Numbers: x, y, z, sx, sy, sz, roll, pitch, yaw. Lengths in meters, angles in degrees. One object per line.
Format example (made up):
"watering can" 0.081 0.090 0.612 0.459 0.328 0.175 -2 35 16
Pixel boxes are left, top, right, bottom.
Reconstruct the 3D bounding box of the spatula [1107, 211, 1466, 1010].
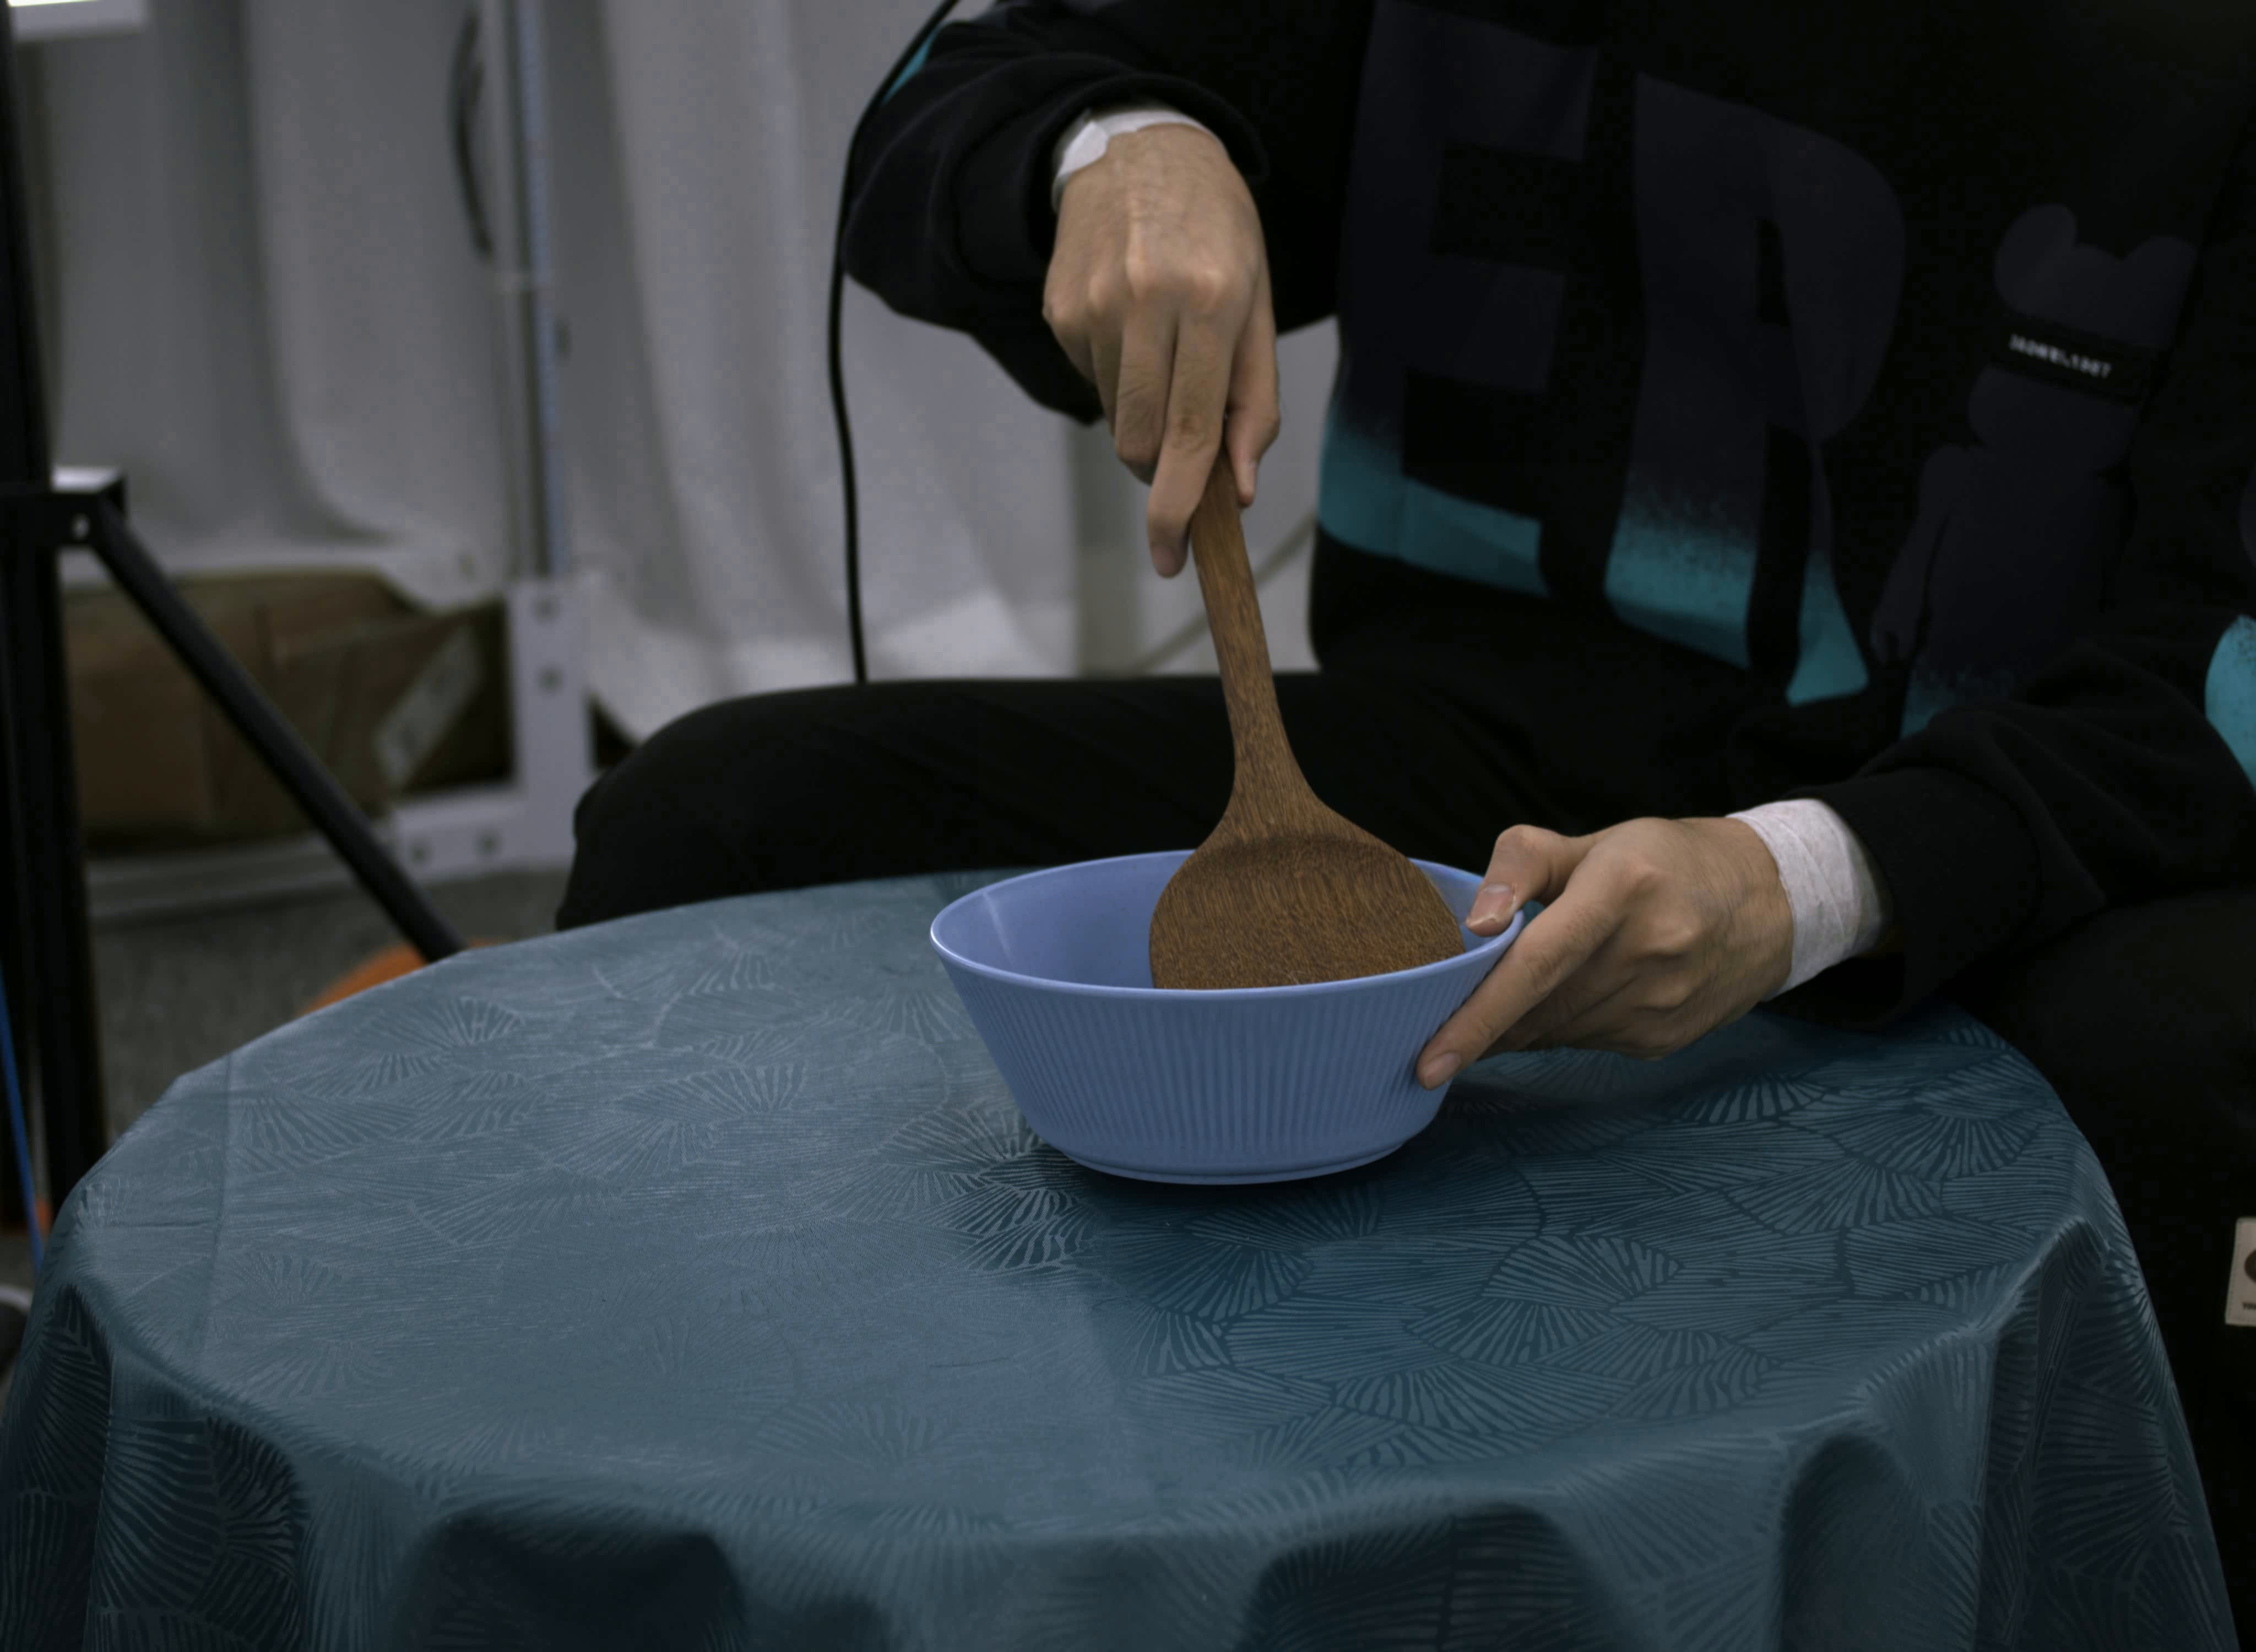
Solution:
"spatula" 0.032 -0.071 1.683 0.095 0.015 0.391 -7 47 -4

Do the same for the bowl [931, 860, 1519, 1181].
"bowl" 0.029 0.059 1.581 0.175 0.070 0.177 -1 12 -1
